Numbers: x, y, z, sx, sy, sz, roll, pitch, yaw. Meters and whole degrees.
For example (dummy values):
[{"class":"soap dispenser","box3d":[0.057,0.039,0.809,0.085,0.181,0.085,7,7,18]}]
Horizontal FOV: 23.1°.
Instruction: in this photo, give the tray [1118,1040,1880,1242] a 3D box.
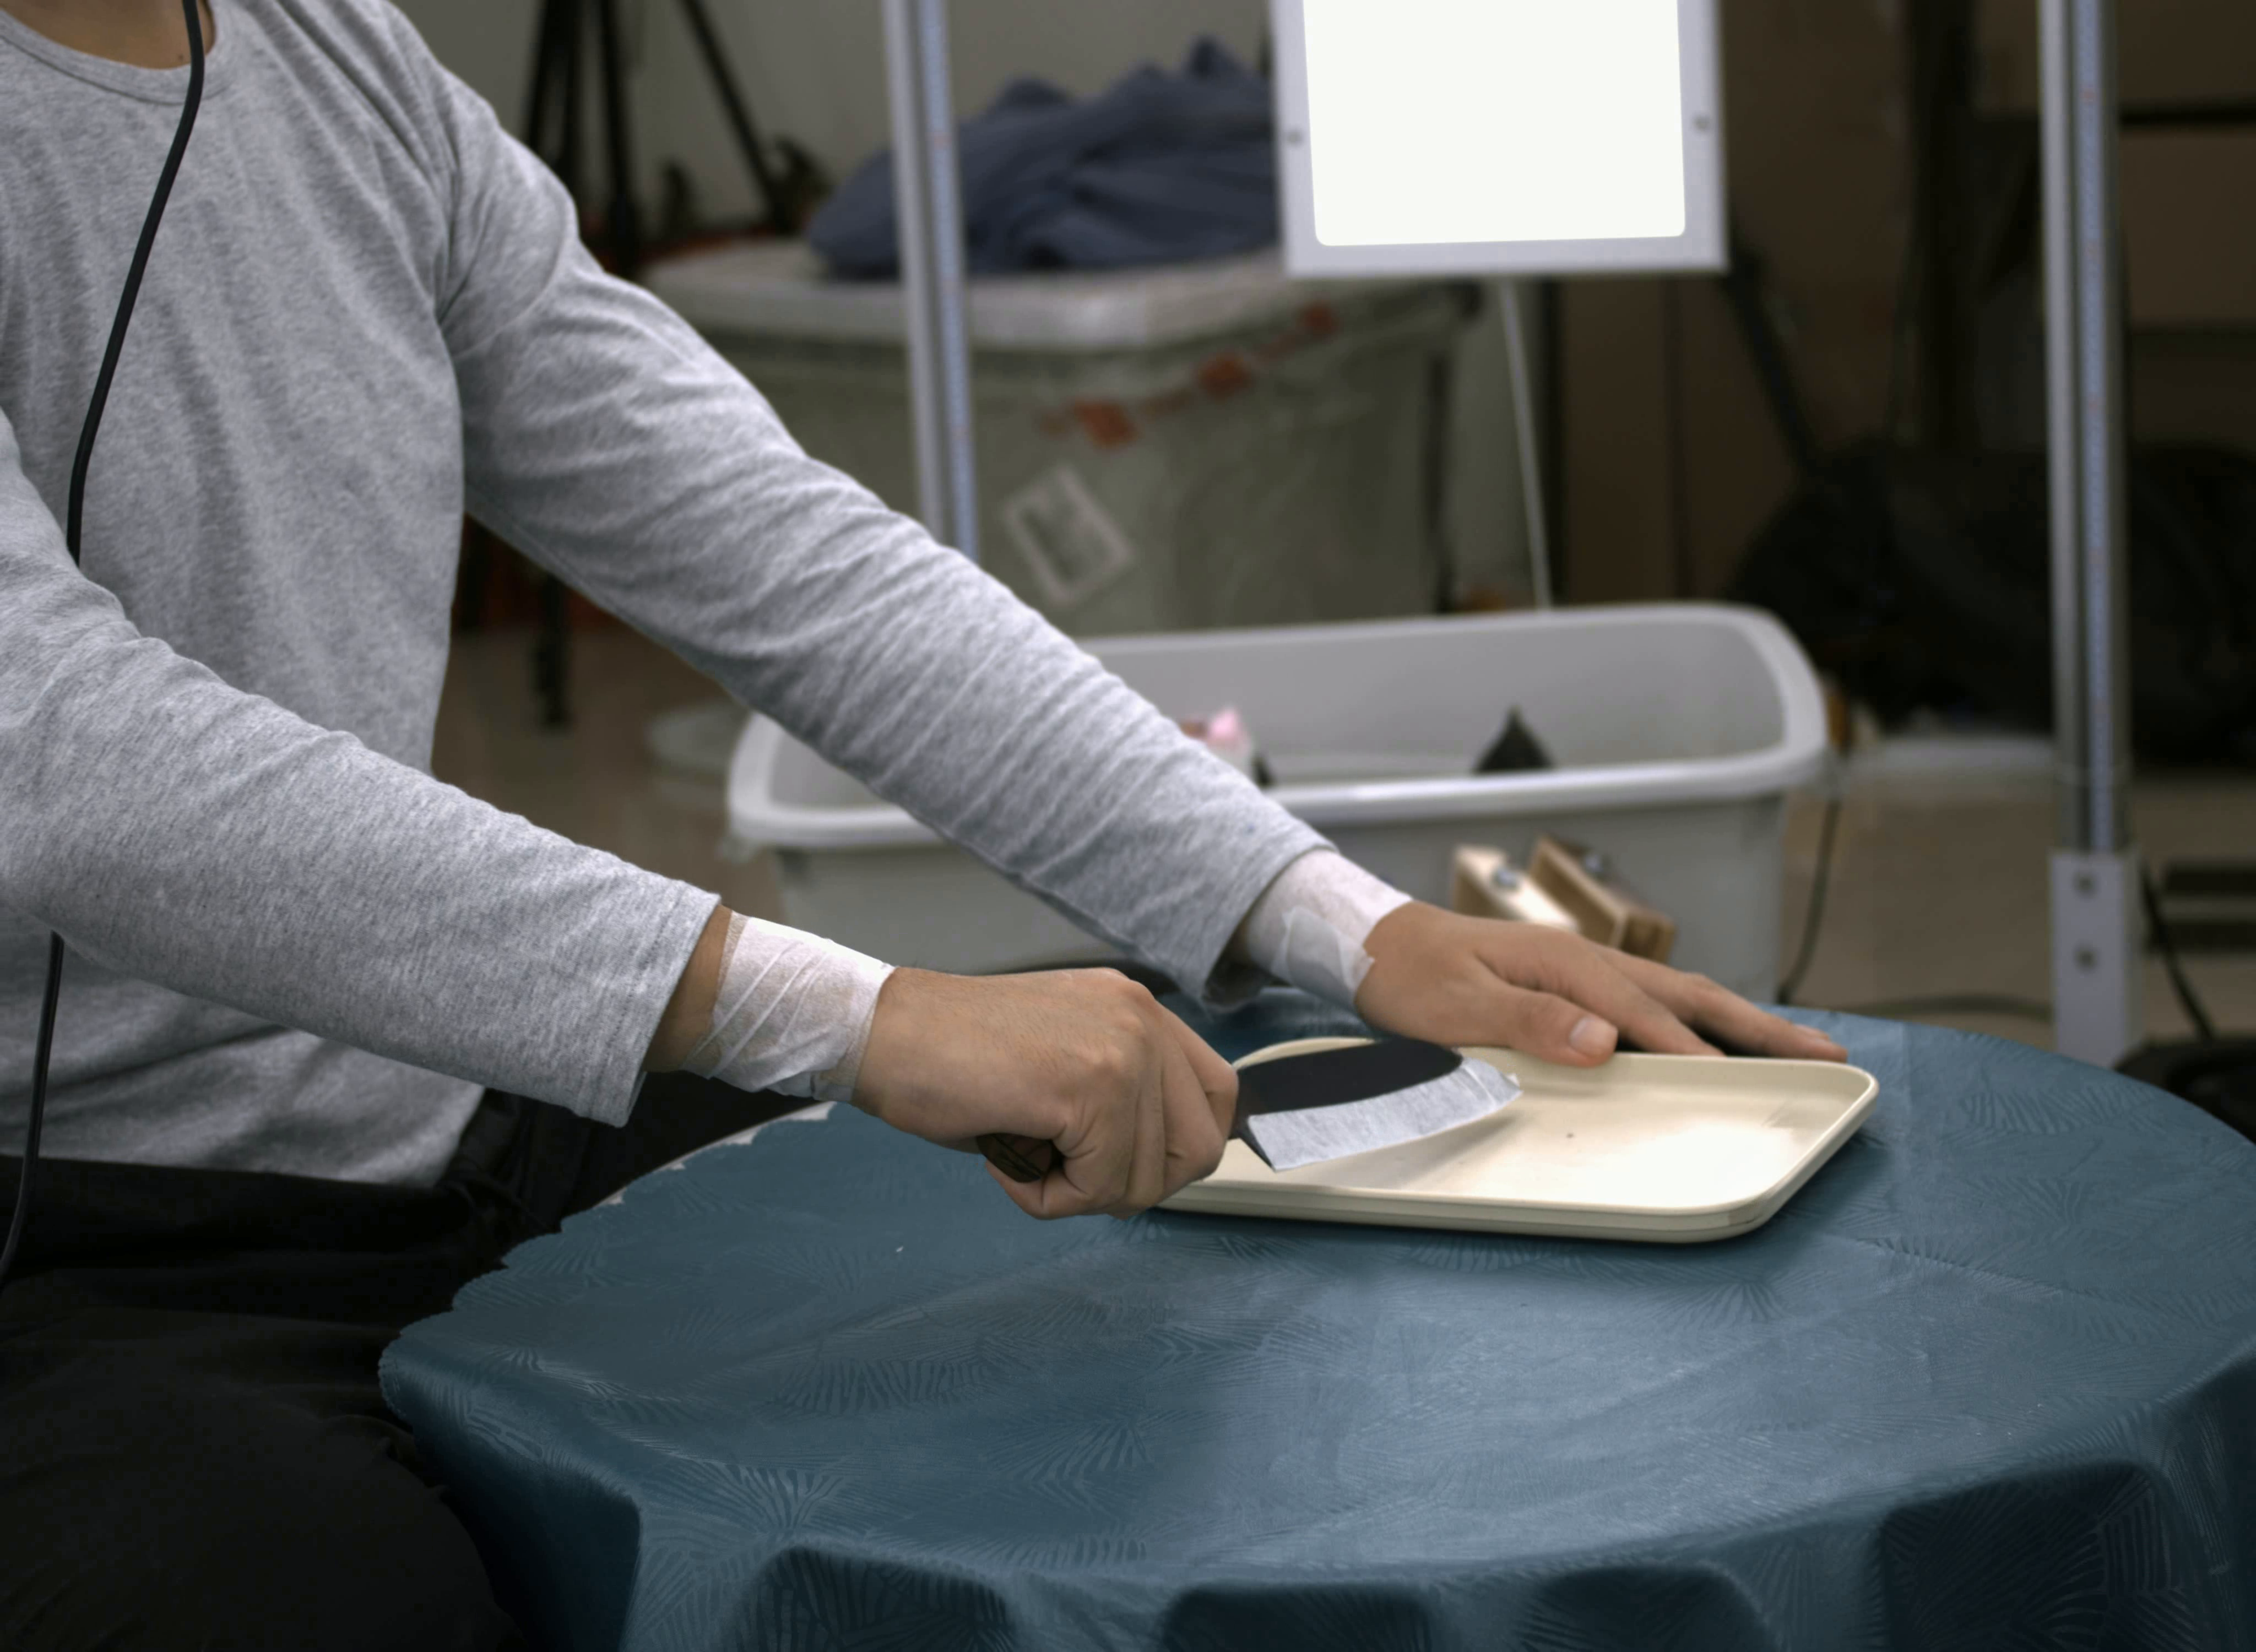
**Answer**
[{"class":"tray","box3d":[0.130,0.108,1.895,0.244,0.017,0.167,2,15,27]}]

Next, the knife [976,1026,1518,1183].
[{"class":"knife","box3d":[0.047,0.093,1.831,0.282,0.020,0.050,-4,52,-51]}]
